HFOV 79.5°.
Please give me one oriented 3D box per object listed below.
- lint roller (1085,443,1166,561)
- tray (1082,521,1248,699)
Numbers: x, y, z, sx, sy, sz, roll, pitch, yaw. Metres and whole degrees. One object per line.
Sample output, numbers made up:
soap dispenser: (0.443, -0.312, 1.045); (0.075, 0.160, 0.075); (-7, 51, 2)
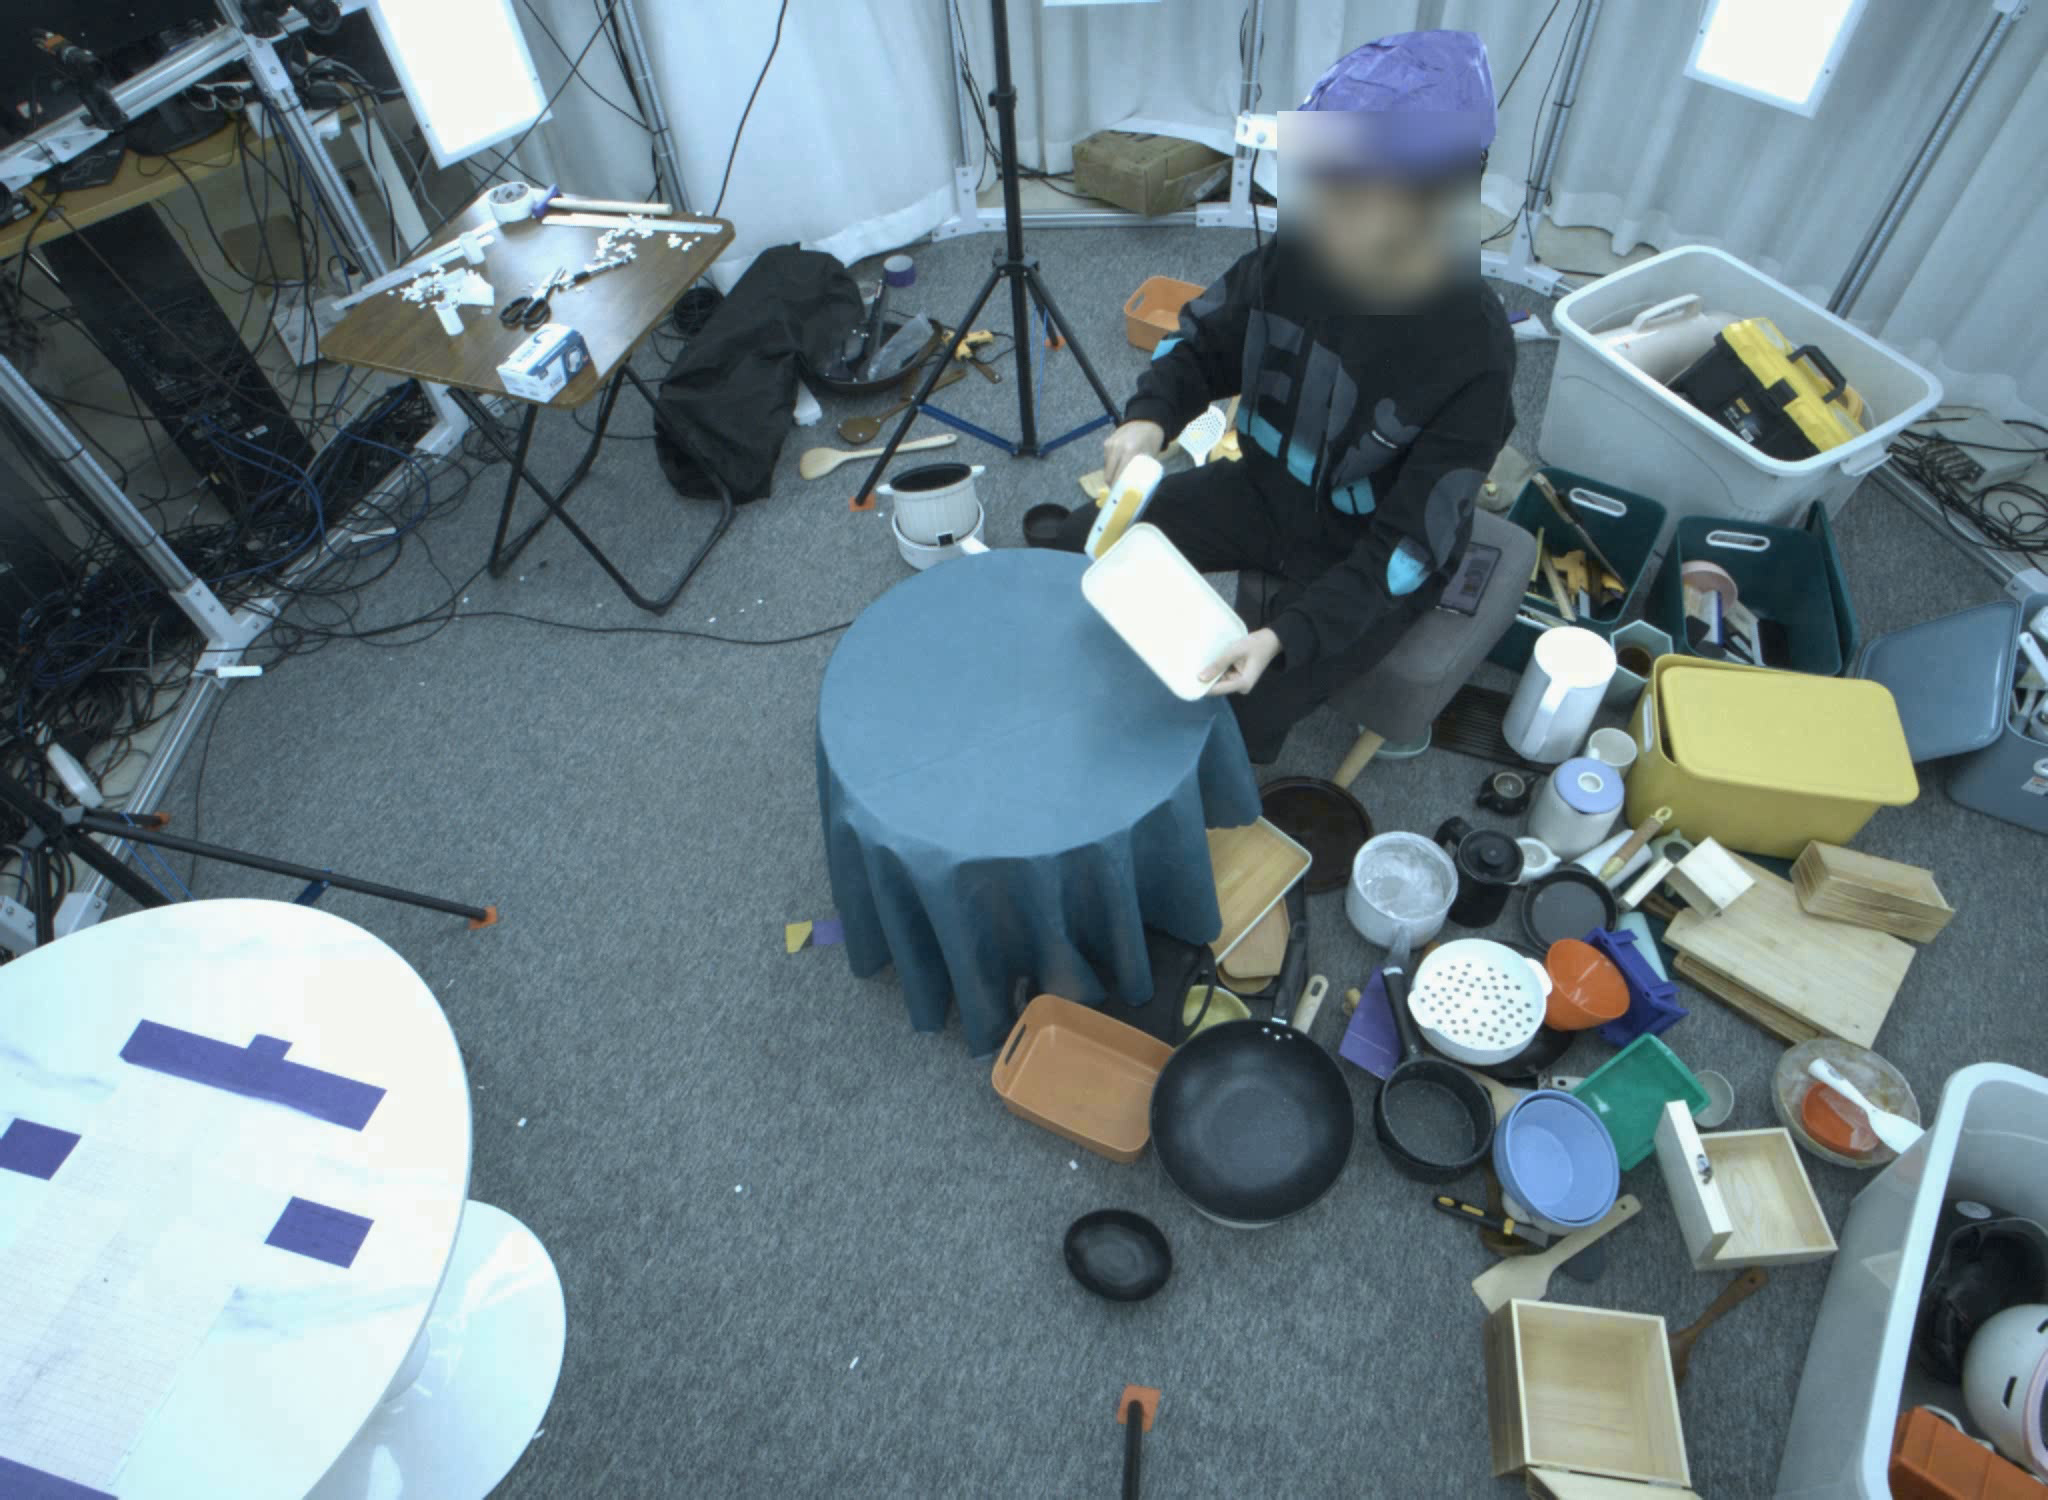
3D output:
lint roller: (0.154, -0.396, 1.829); (0.074, 0.193, 0.192); (23, 45, -2)
tray: (0.199, -0.197, 1.736); (0.241, 0.017, 0.172); (48, 62, -7)
